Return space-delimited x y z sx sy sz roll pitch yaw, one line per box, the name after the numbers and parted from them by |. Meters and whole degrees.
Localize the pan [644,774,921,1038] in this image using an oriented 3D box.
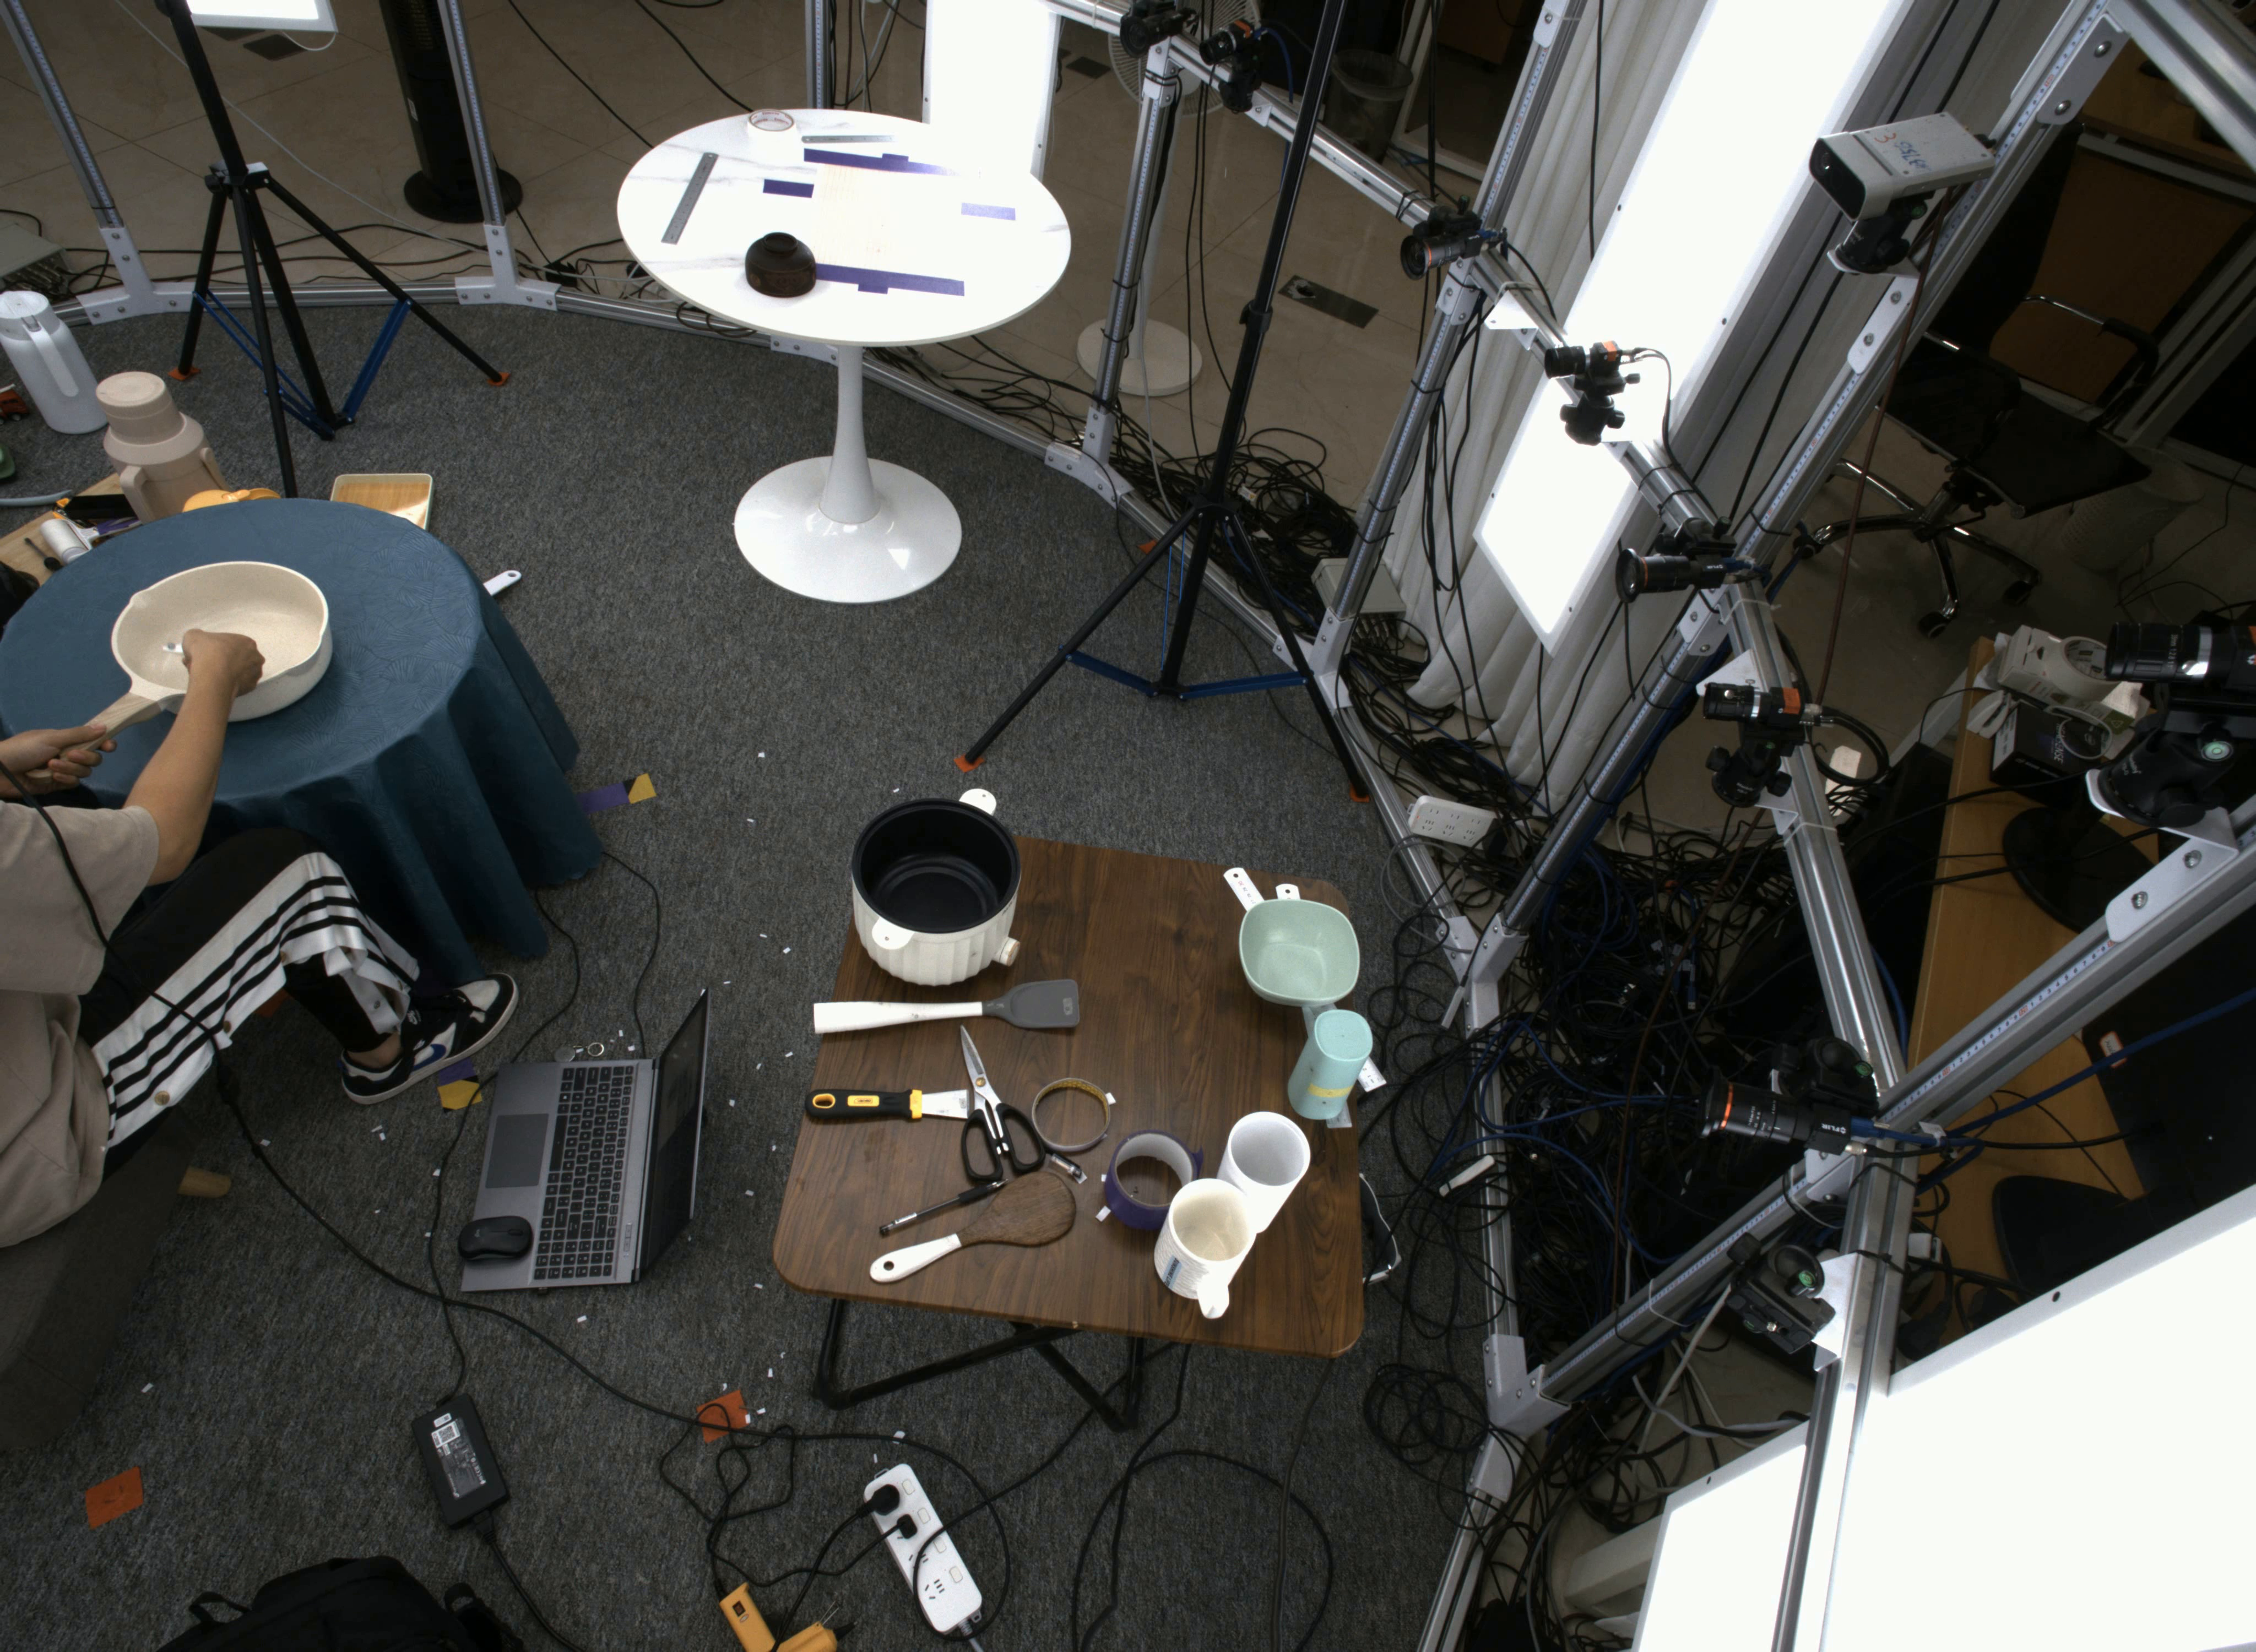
-0.434 0.111 1.588 0.259 0.104 0.433 31 53 9 | pan

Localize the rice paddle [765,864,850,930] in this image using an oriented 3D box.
-0.380 0.073 1.544 0.070 0.030 0.197 3 16 -34 | rice paddle
